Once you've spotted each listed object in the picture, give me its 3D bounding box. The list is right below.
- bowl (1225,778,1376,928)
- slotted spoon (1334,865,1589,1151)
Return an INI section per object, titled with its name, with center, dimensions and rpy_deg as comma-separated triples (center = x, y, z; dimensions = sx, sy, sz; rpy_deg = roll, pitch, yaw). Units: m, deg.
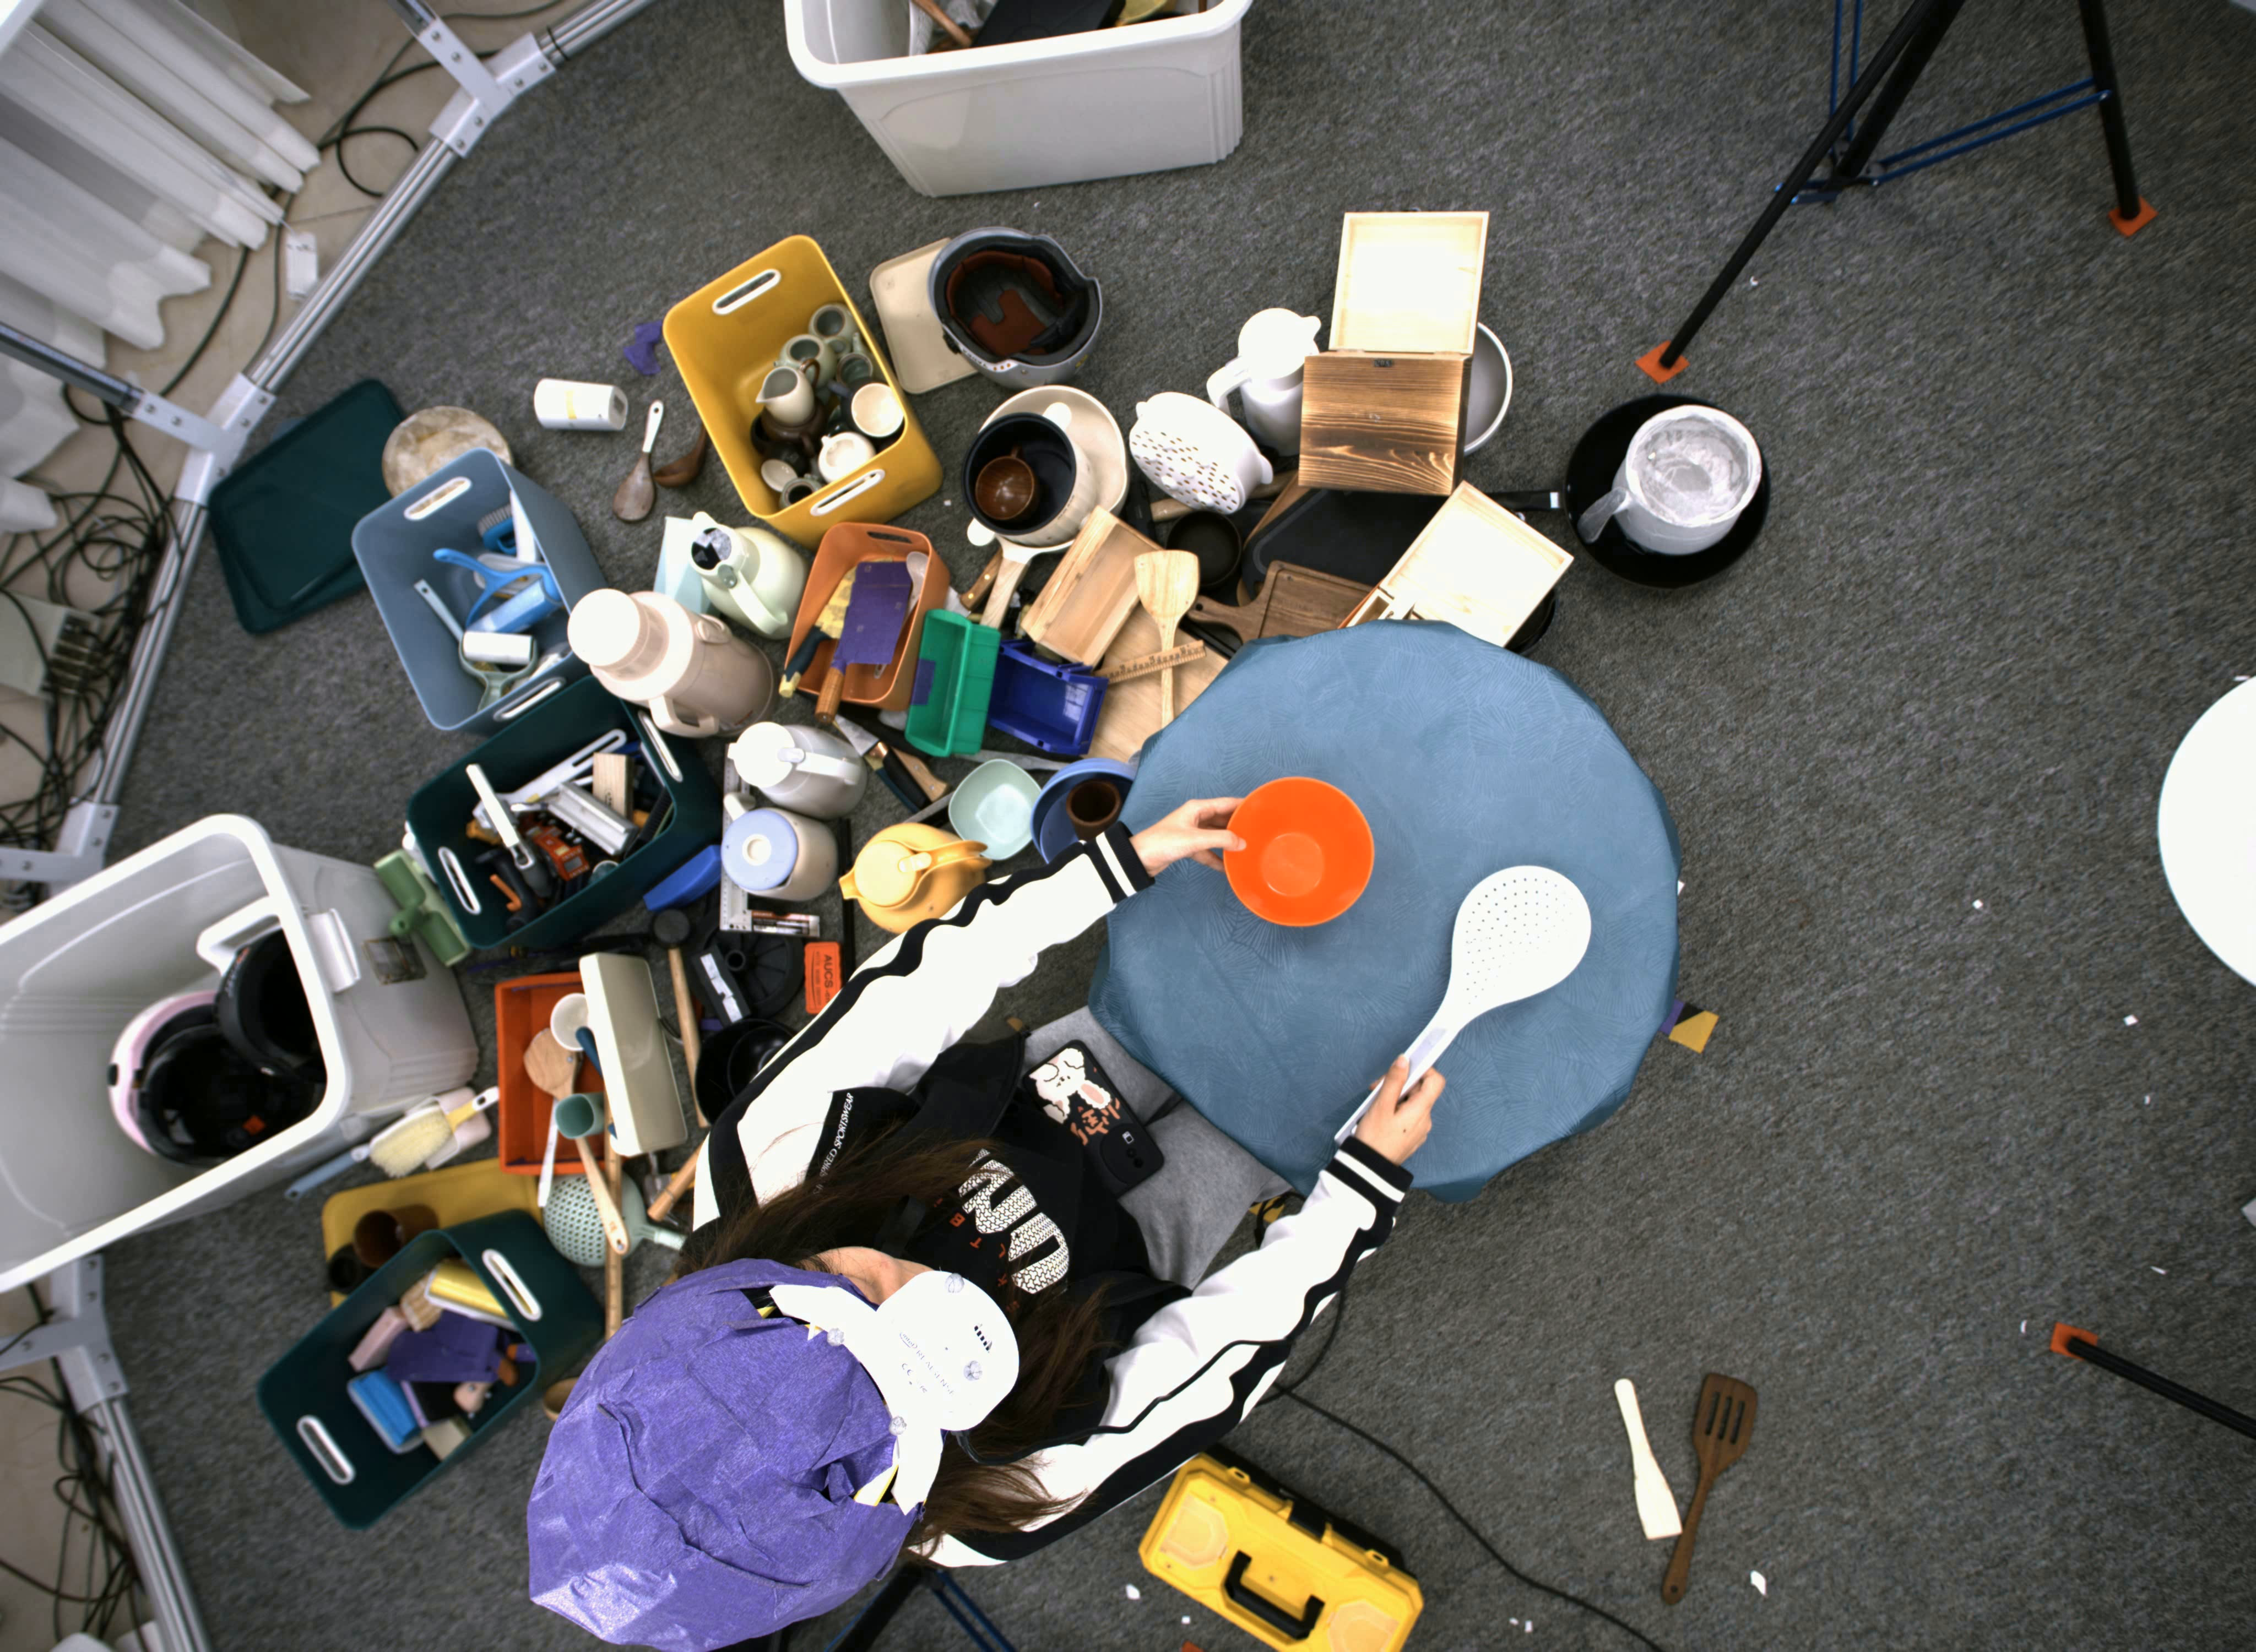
[bowl]
center = 0.173, 0.028, 1.403
dimensions = 0.148, 0.104, 0.148
rpy_deg = 0, 91, 6
[slotted spoon]
center = 0.329, 0.185, 1.390
dimensions = 0.349, 0.046, 0.134
rpy_deg = -48, 51, -3
